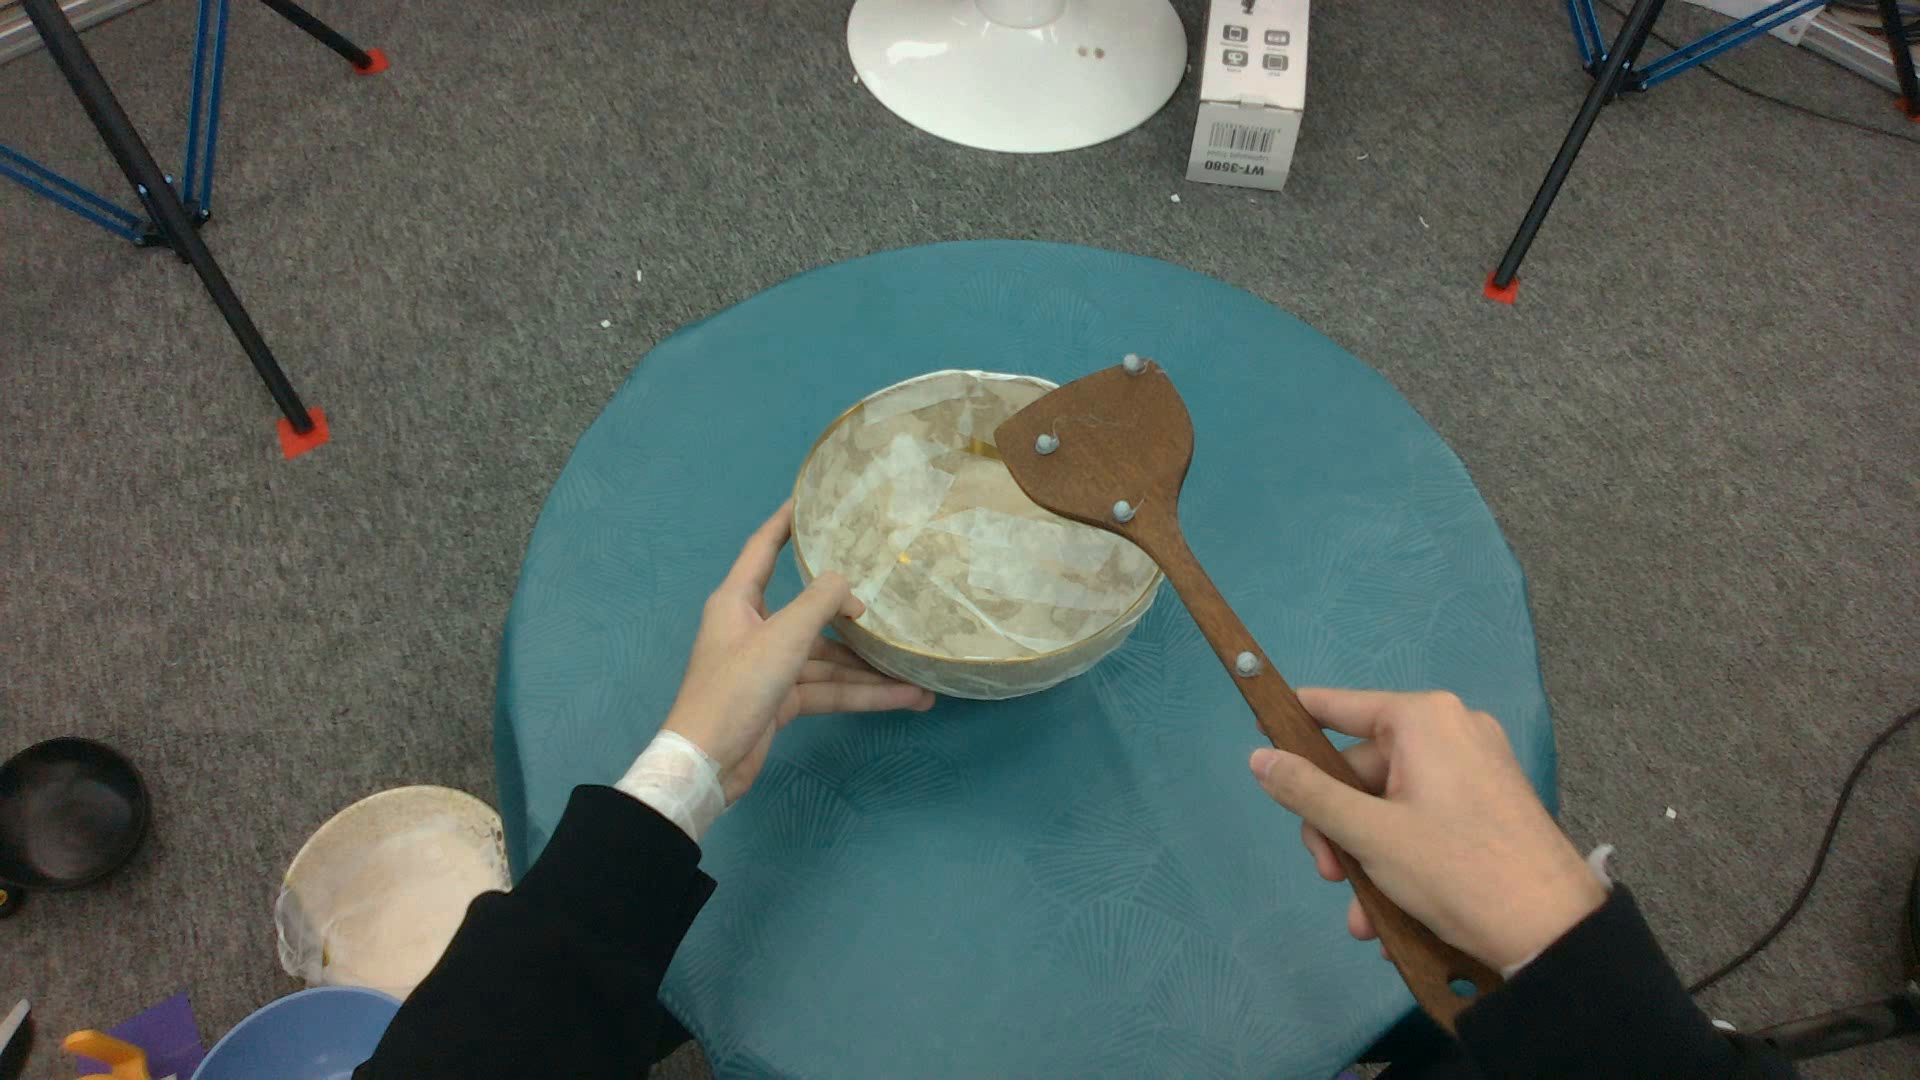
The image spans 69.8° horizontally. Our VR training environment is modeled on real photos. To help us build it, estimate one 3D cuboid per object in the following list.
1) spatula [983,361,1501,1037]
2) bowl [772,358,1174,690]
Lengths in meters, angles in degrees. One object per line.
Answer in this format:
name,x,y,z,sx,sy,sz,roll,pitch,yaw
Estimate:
spatula,0.109,0.039,0.583,0.096,0.016,0.387,-25,43,-2
bowl,0.003,0.006,0.744,0.215,0.094,0.215,3,51,-3
